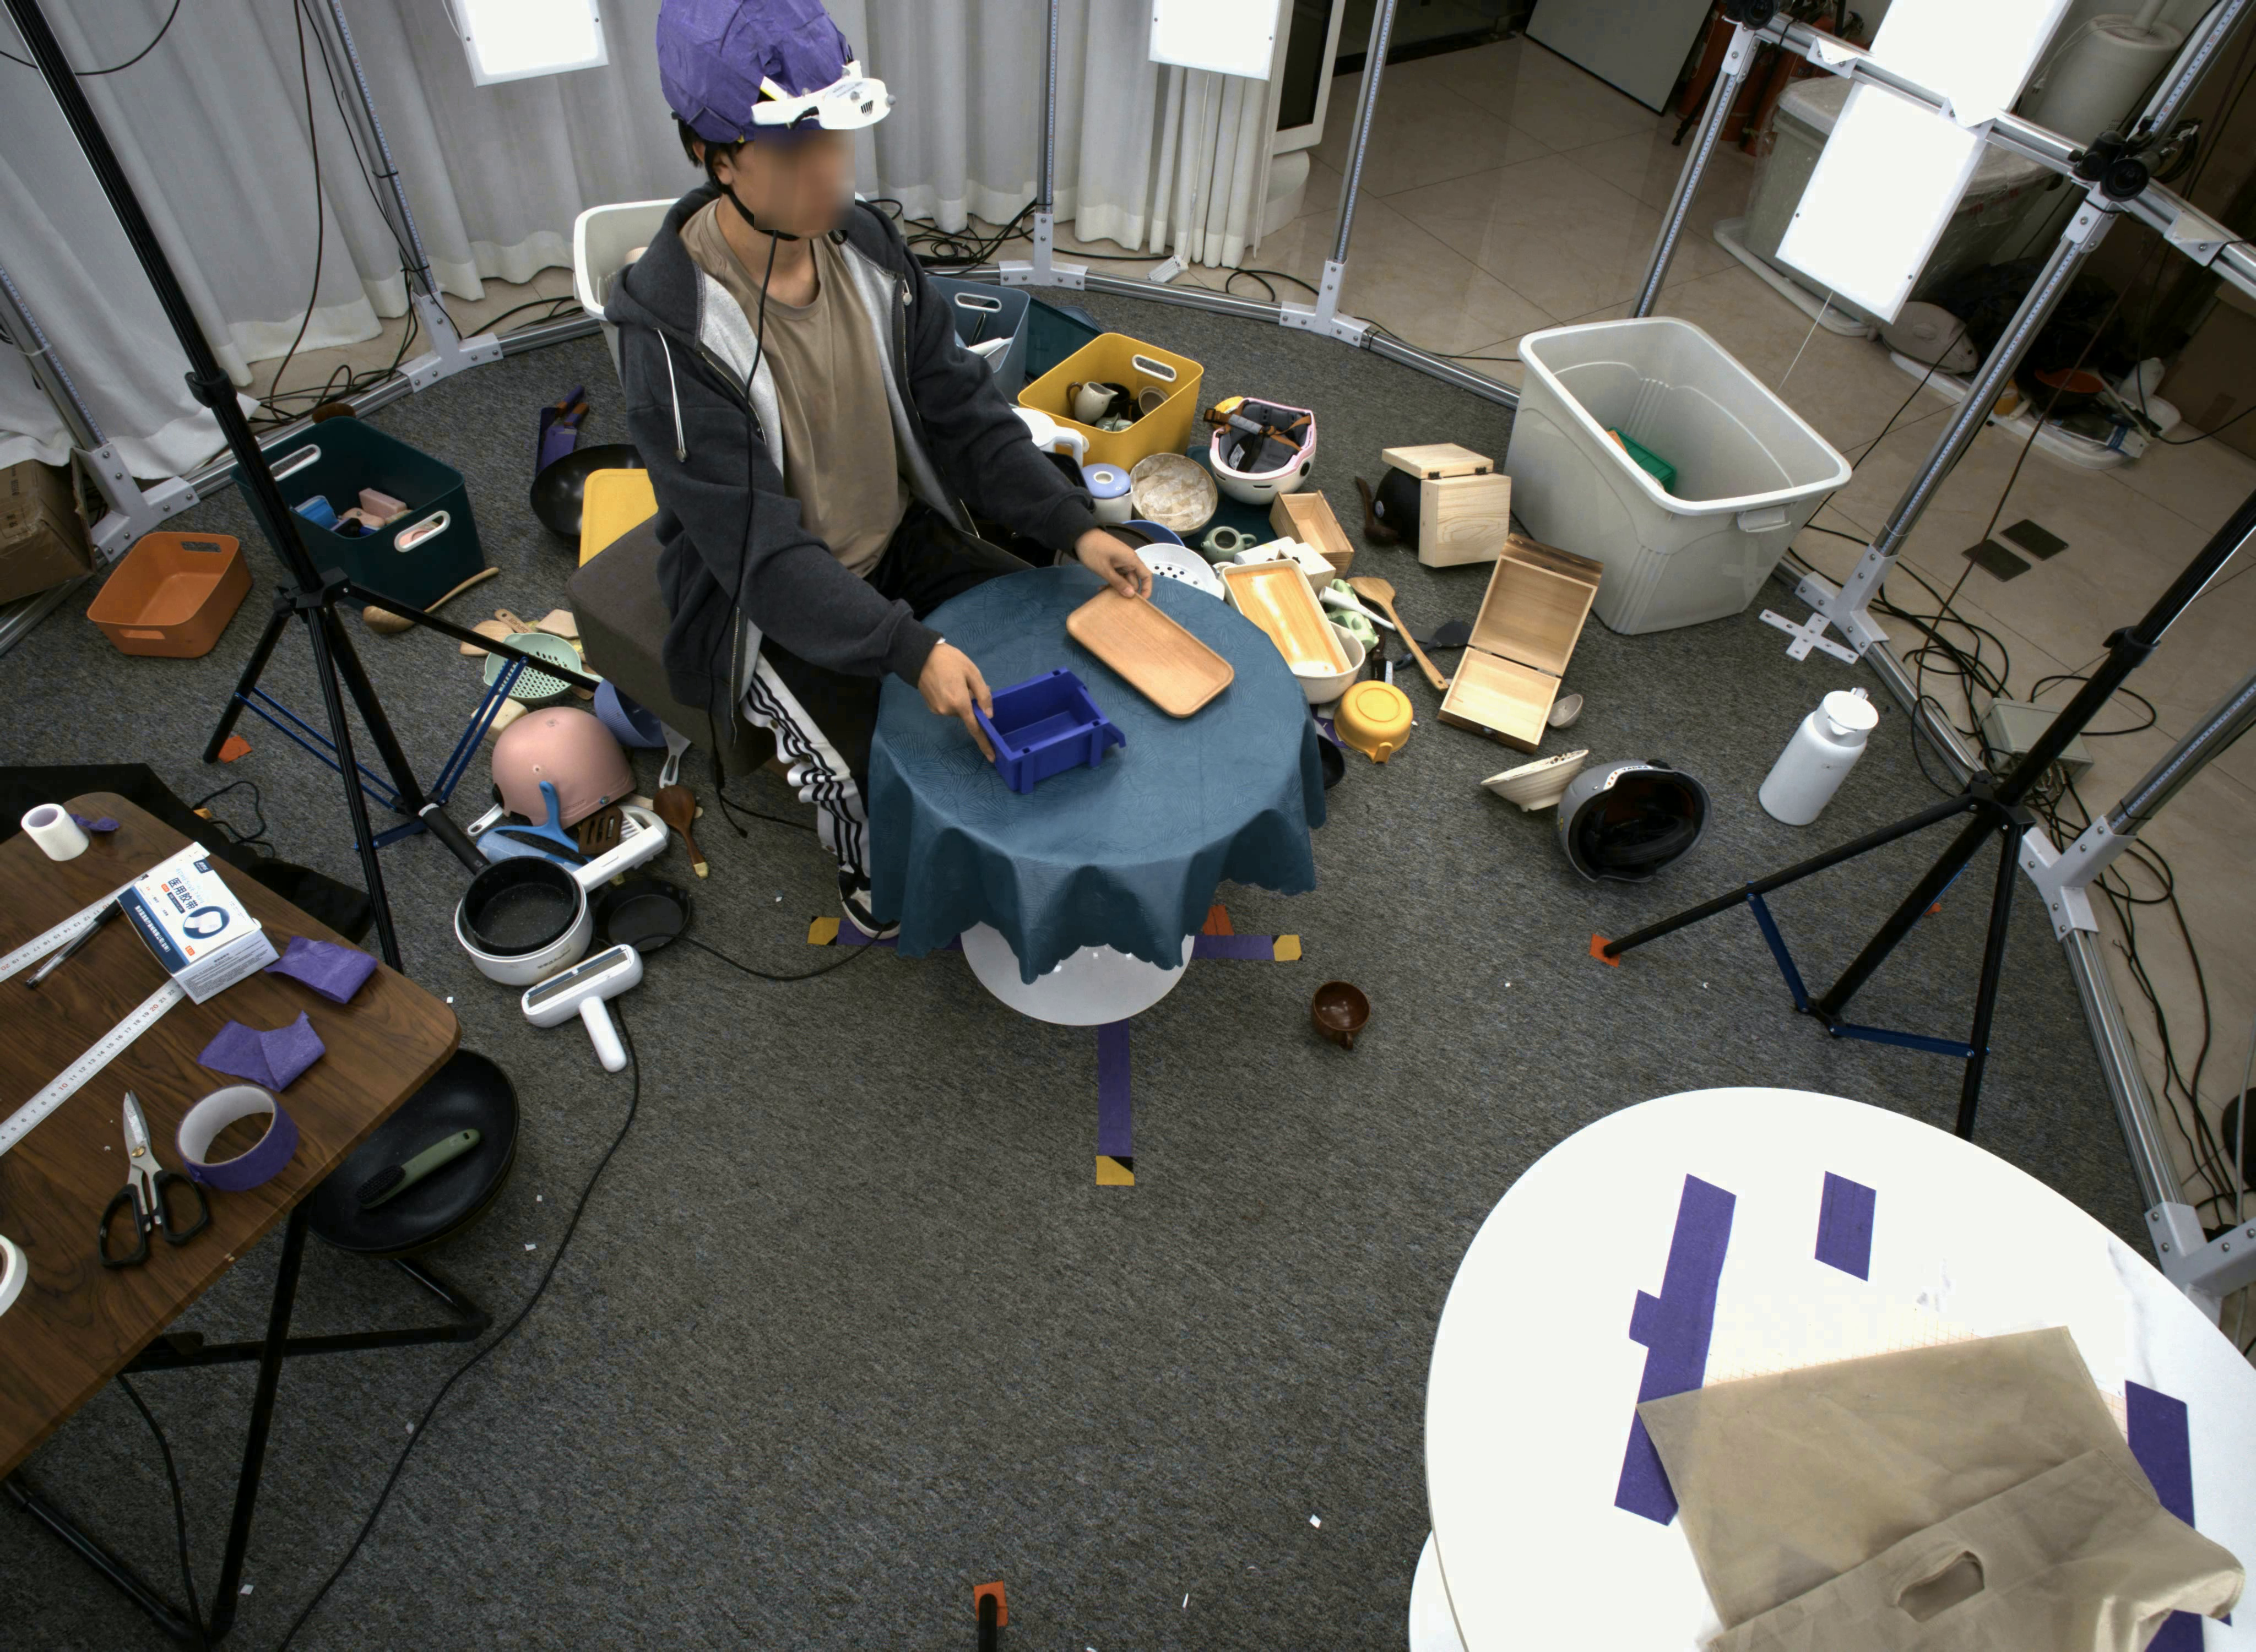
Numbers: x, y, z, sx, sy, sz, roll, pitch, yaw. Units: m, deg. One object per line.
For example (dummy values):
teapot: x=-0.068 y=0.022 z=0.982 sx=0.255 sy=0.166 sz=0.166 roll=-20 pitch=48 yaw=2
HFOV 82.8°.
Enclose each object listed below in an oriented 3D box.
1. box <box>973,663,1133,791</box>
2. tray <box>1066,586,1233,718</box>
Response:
box: x=-0.100 y=-0.138 z=1.725 sx=0.180 sy=0.080 sz=0.127 roll=-23 pitch=54 yaw=-18
tray: x=0.030 y=-0.255 z=1.865 sx=0.131 sy=0.022 sz=0.254 roll=-37 pitch=62 yaw=-24
